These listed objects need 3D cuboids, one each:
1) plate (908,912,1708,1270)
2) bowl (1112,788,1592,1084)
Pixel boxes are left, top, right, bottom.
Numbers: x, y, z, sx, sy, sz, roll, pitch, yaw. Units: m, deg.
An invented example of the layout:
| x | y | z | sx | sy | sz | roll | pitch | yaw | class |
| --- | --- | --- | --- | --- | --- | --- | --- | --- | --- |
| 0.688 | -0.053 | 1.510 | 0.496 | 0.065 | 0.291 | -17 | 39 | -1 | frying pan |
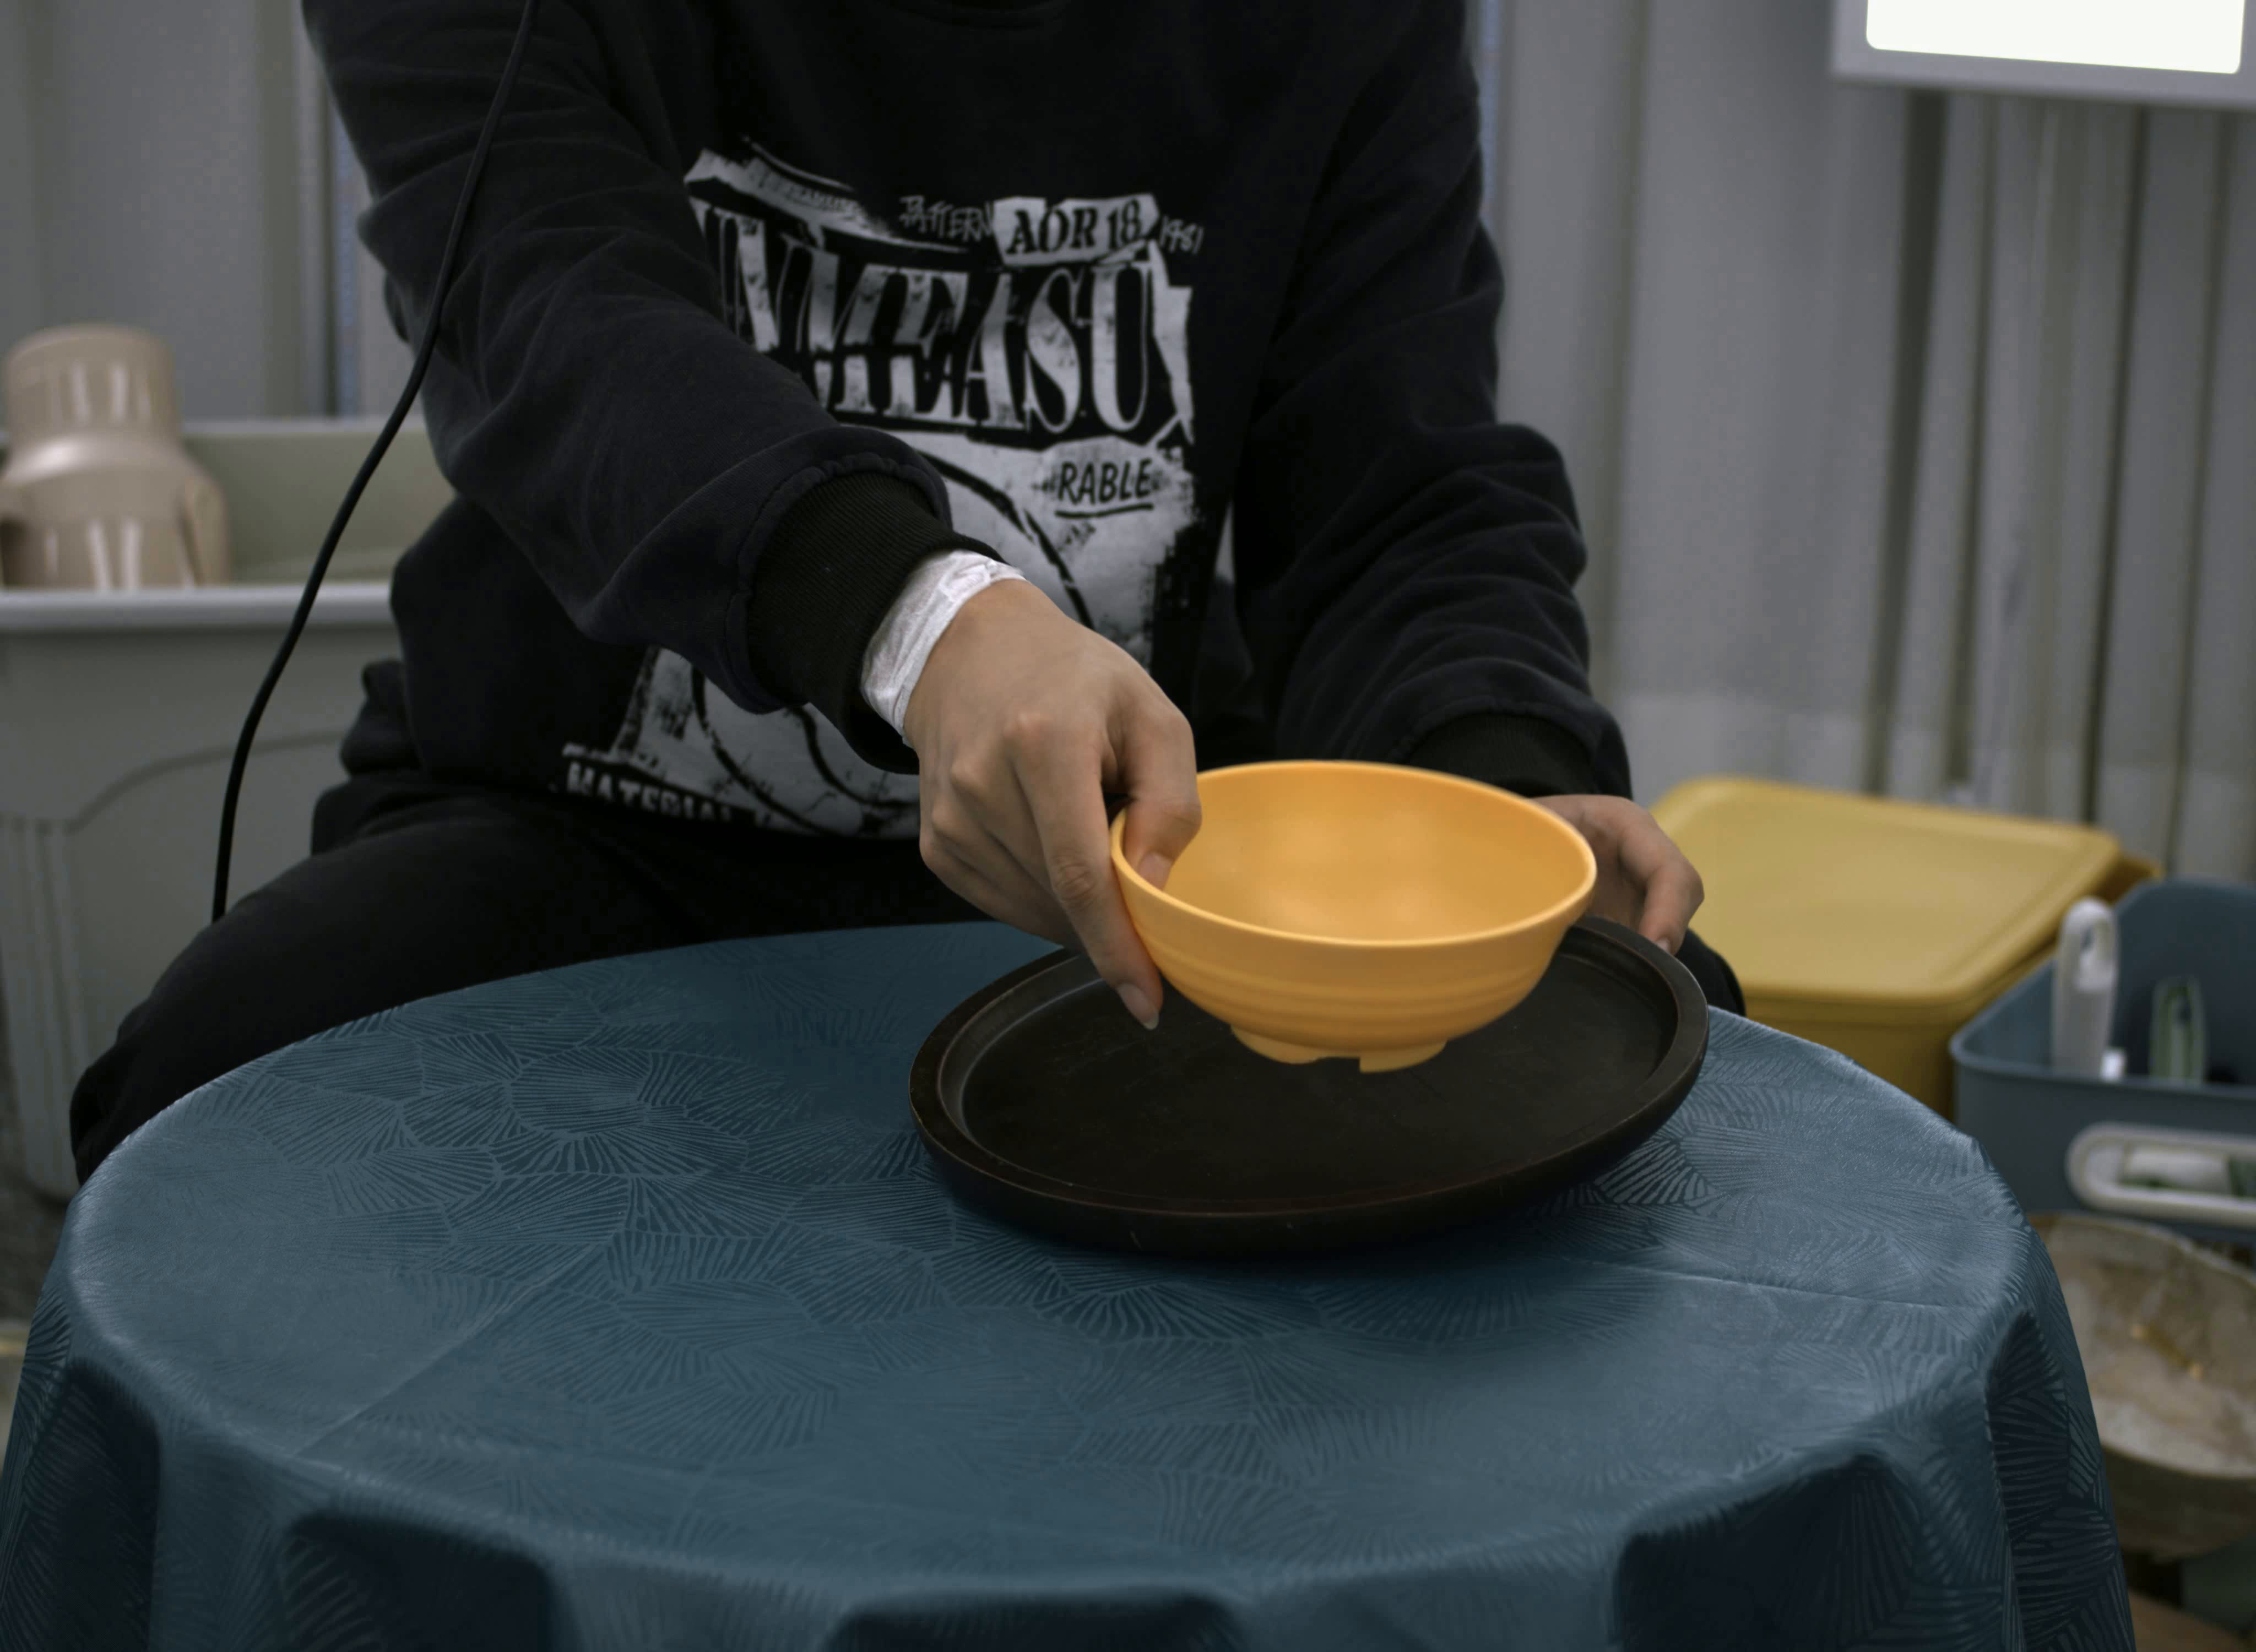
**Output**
| x | y | z | sx | sy | sz | roll | pitch | yaw | class |
| --- | --- | --- | --- | --- | --- | --- | --- | --- | --- |
| 0.057 | 0.077 | 1.657 | 0.254 | 0.029 | 0.253 | -7 | 21 | 3 | plate |
| 0.065 | 0.038 | 1.564 | 0.145 | 0.060 | 0.144 | 3 | 19 | -1 | bowl |
